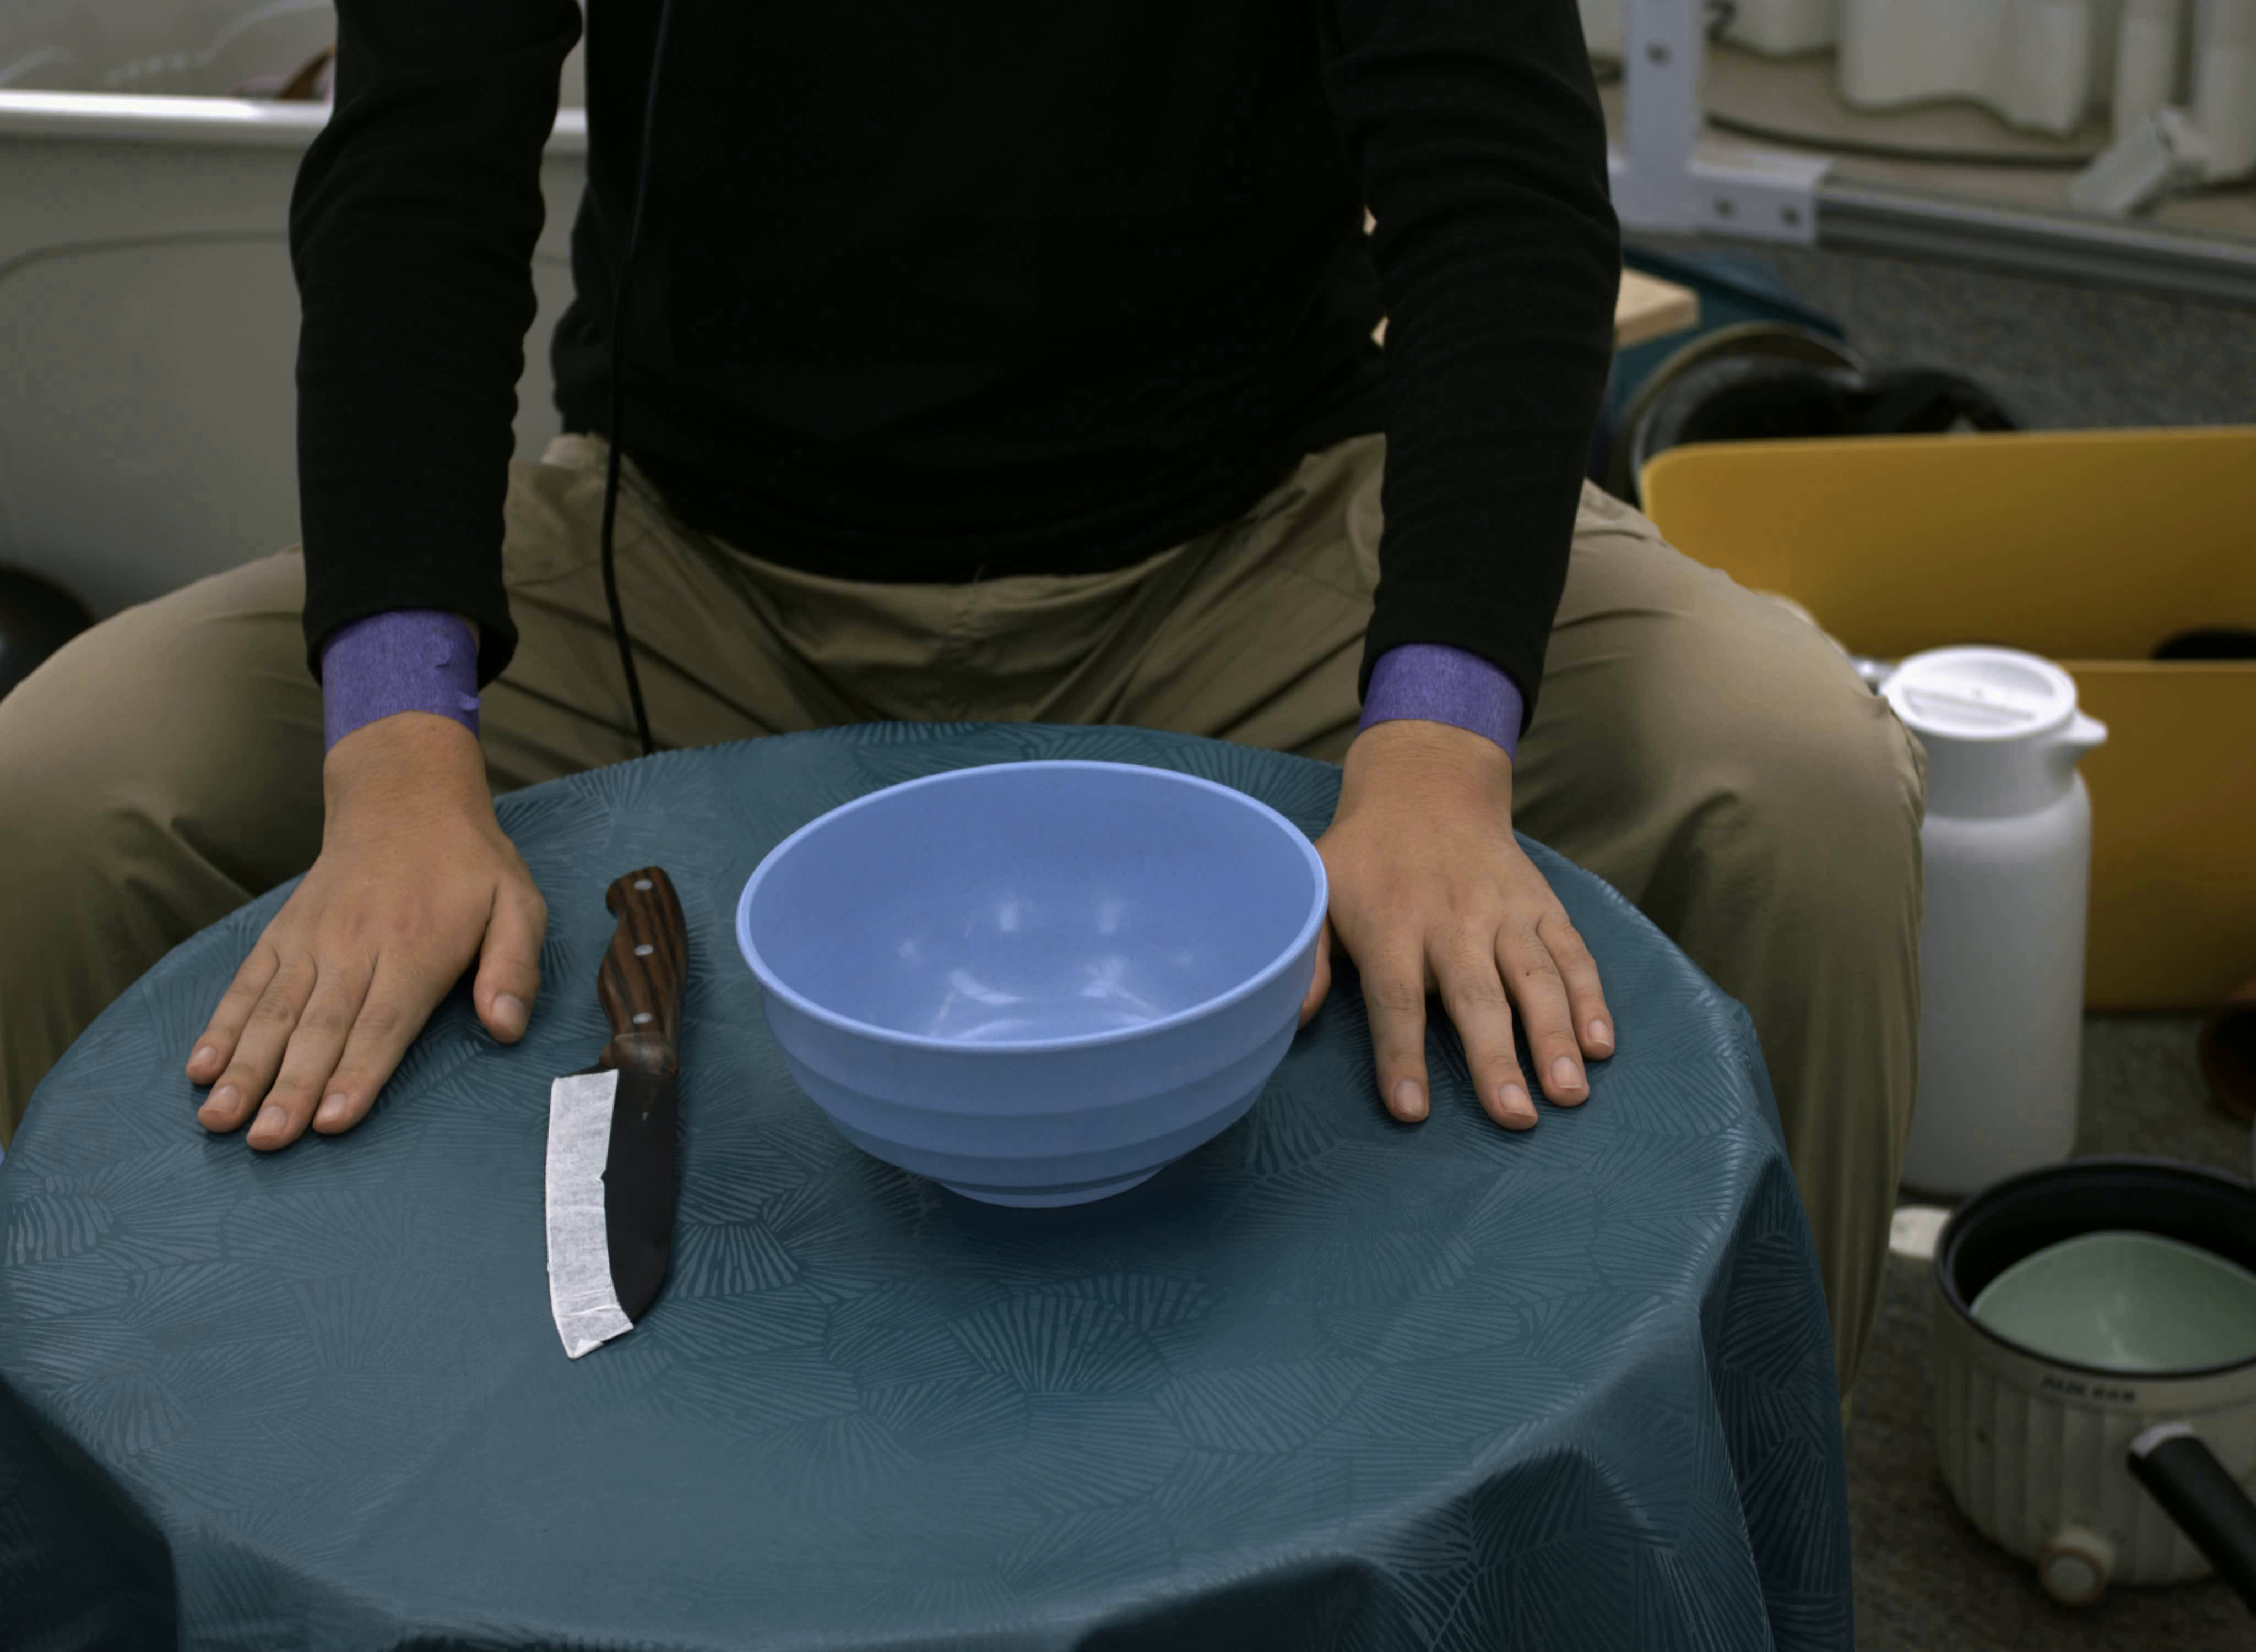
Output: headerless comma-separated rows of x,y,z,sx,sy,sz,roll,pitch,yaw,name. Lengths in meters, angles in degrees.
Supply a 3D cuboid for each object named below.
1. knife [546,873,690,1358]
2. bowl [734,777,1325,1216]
-0.172,0.097,1.908,0.050,0.020,0.294,-6,30,3,knife
-0.030,0.066,1.872,0.195,0.094,0.199,-3,25,2,bowl
